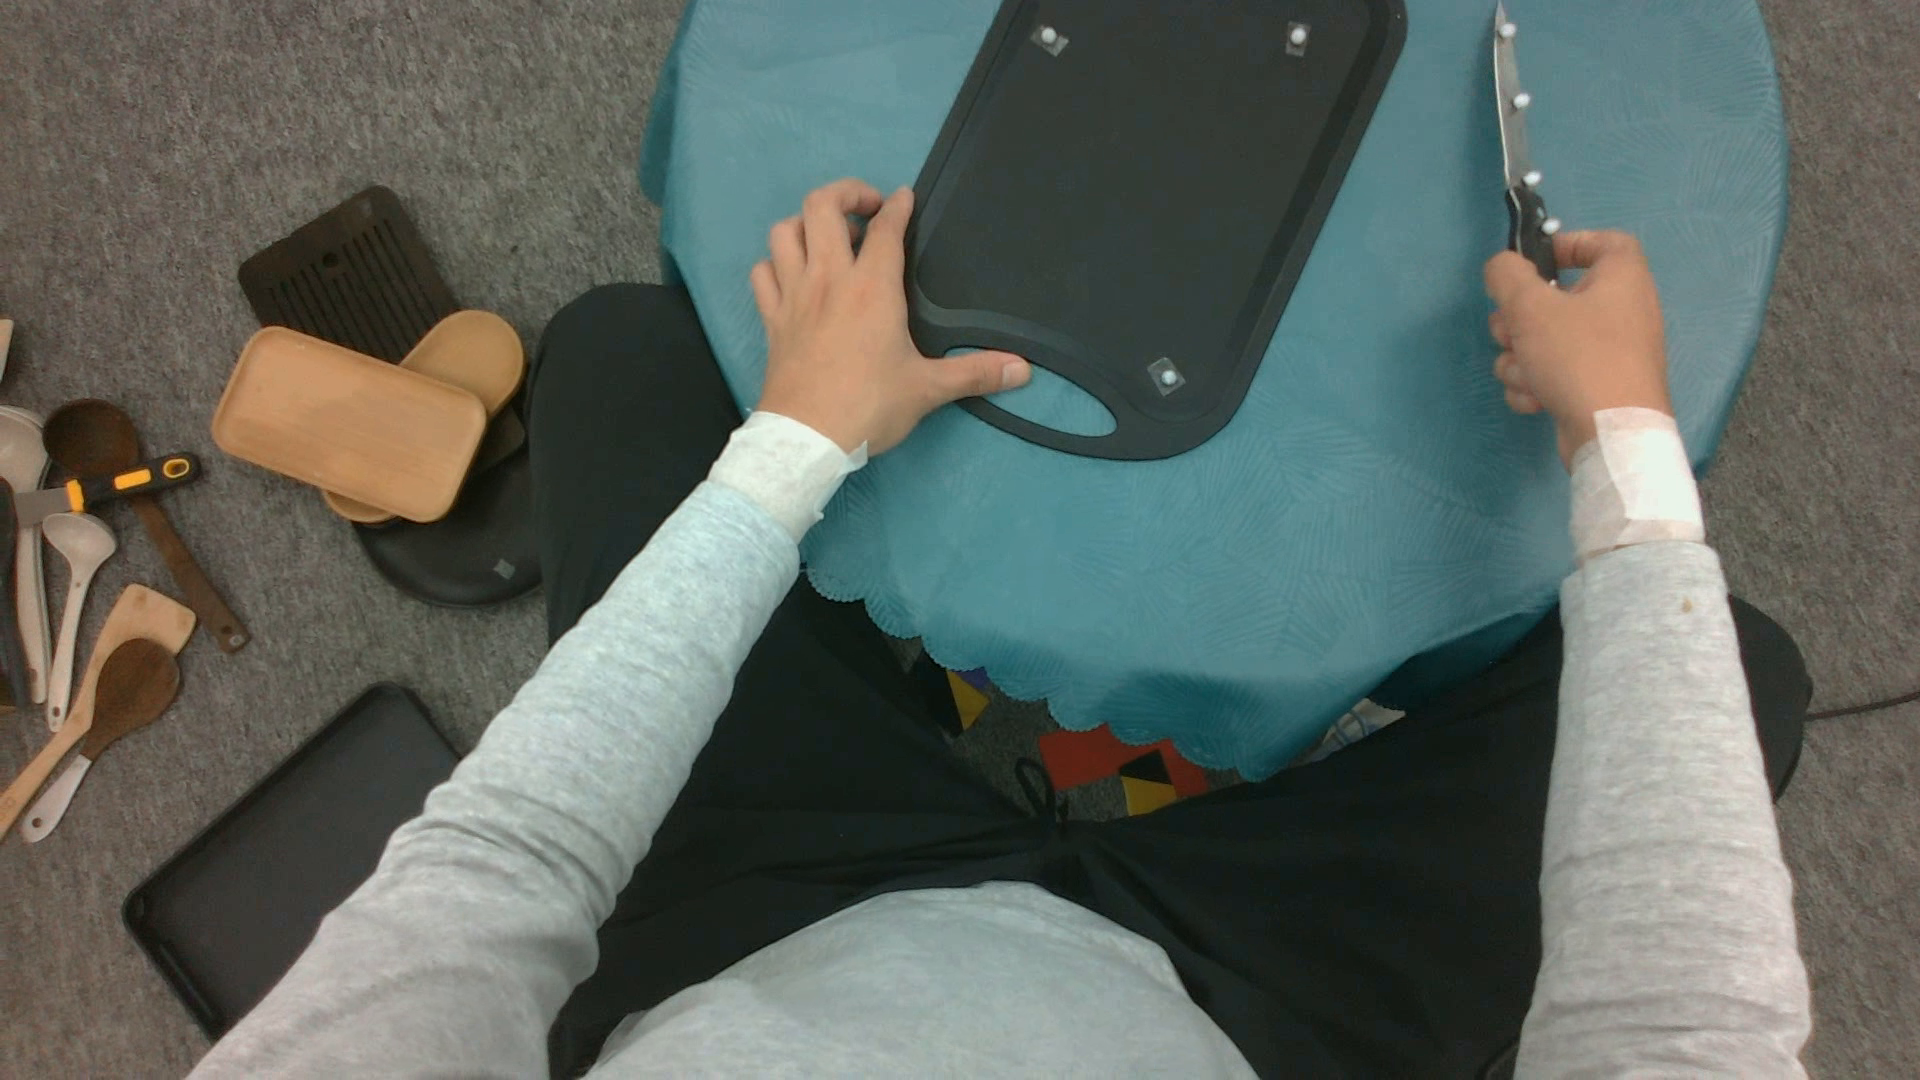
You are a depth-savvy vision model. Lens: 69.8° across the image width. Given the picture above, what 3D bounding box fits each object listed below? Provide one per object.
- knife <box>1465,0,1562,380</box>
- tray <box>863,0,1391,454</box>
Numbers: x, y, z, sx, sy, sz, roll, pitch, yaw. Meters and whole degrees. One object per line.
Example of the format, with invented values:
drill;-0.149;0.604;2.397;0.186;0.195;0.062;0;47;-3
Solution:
knife;0.282;-0.189;0.711;0.024;0.016;0.239;12;66;-31
tray;0.088;-0.206;0.743;0.211;0.010;0.326;24;83;6
